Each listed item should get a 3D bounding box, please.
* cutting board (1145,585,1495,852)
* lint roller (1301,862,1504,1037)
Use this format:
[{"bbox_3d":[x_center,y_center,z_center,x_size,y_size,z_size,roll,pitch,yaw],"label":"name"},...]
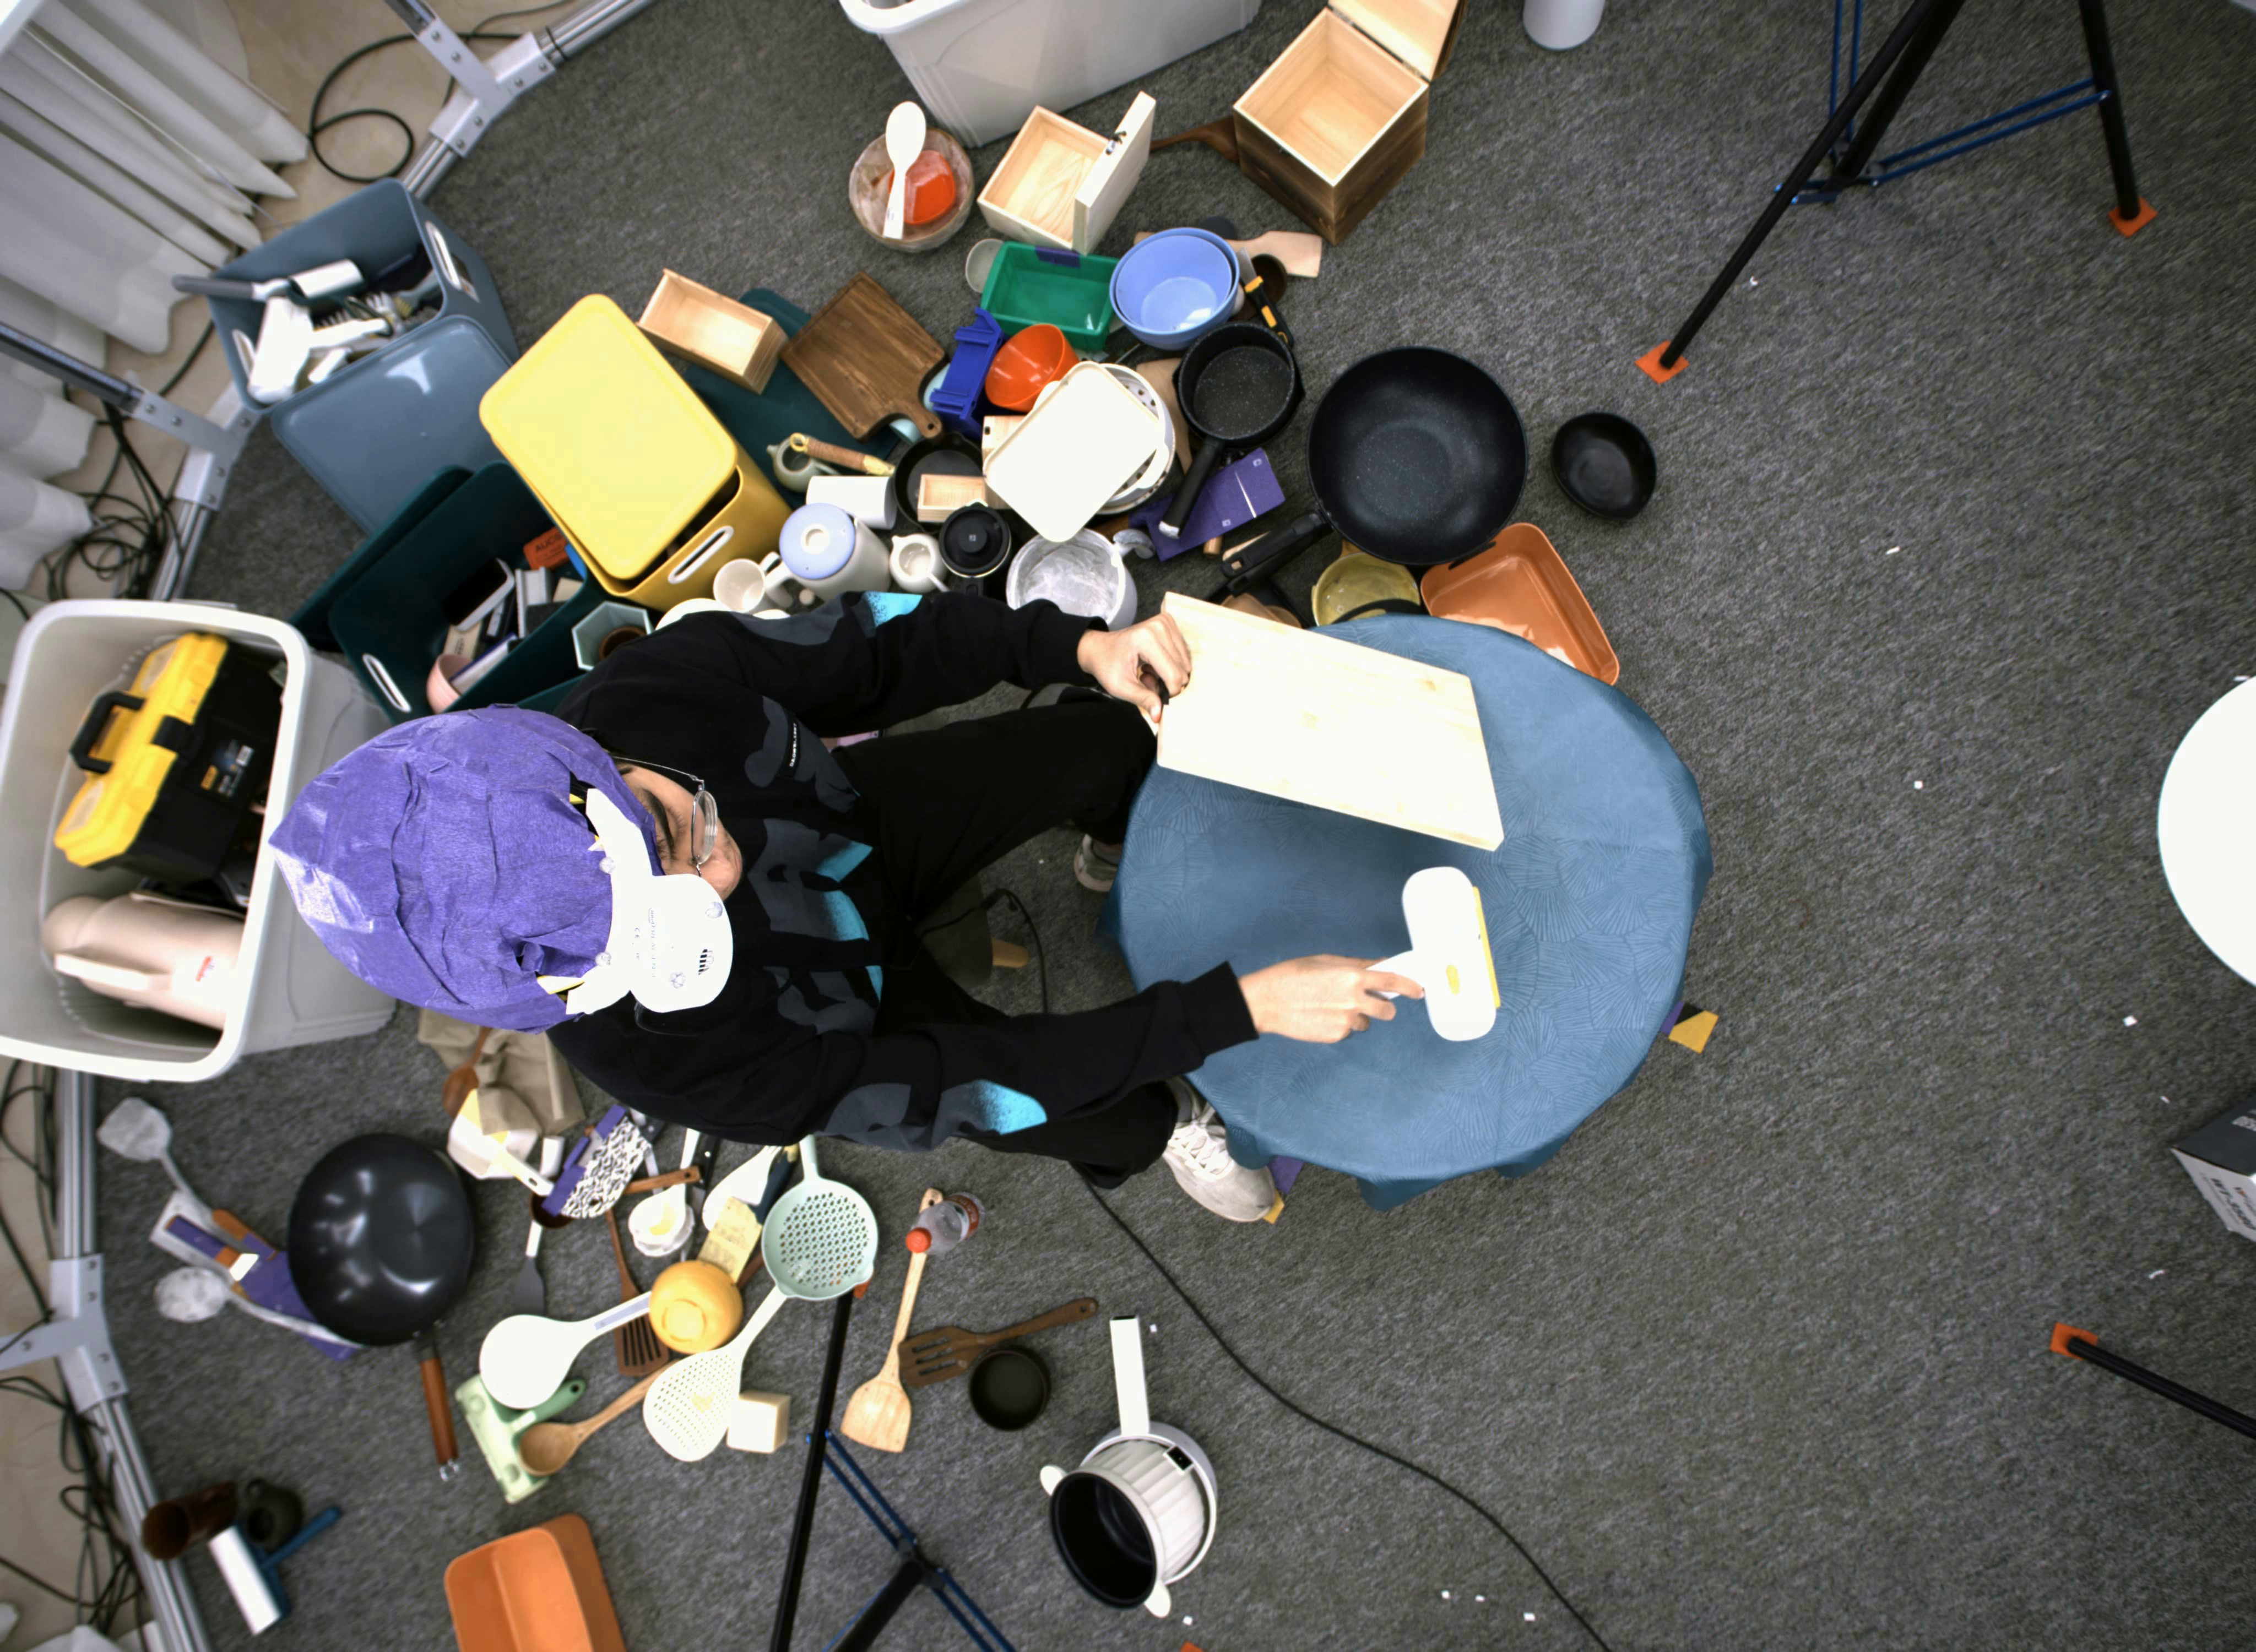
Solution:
[{"bbox_3d":[0.186,-0.108,1.335,0.349,0.024,0.244,13,47,-12],"label":"cutting board"},{"bbox_3d":[0.253,0.140,1.312,0.193,0.072,0.196,-18,126,8],"label":"lint roller"}]
